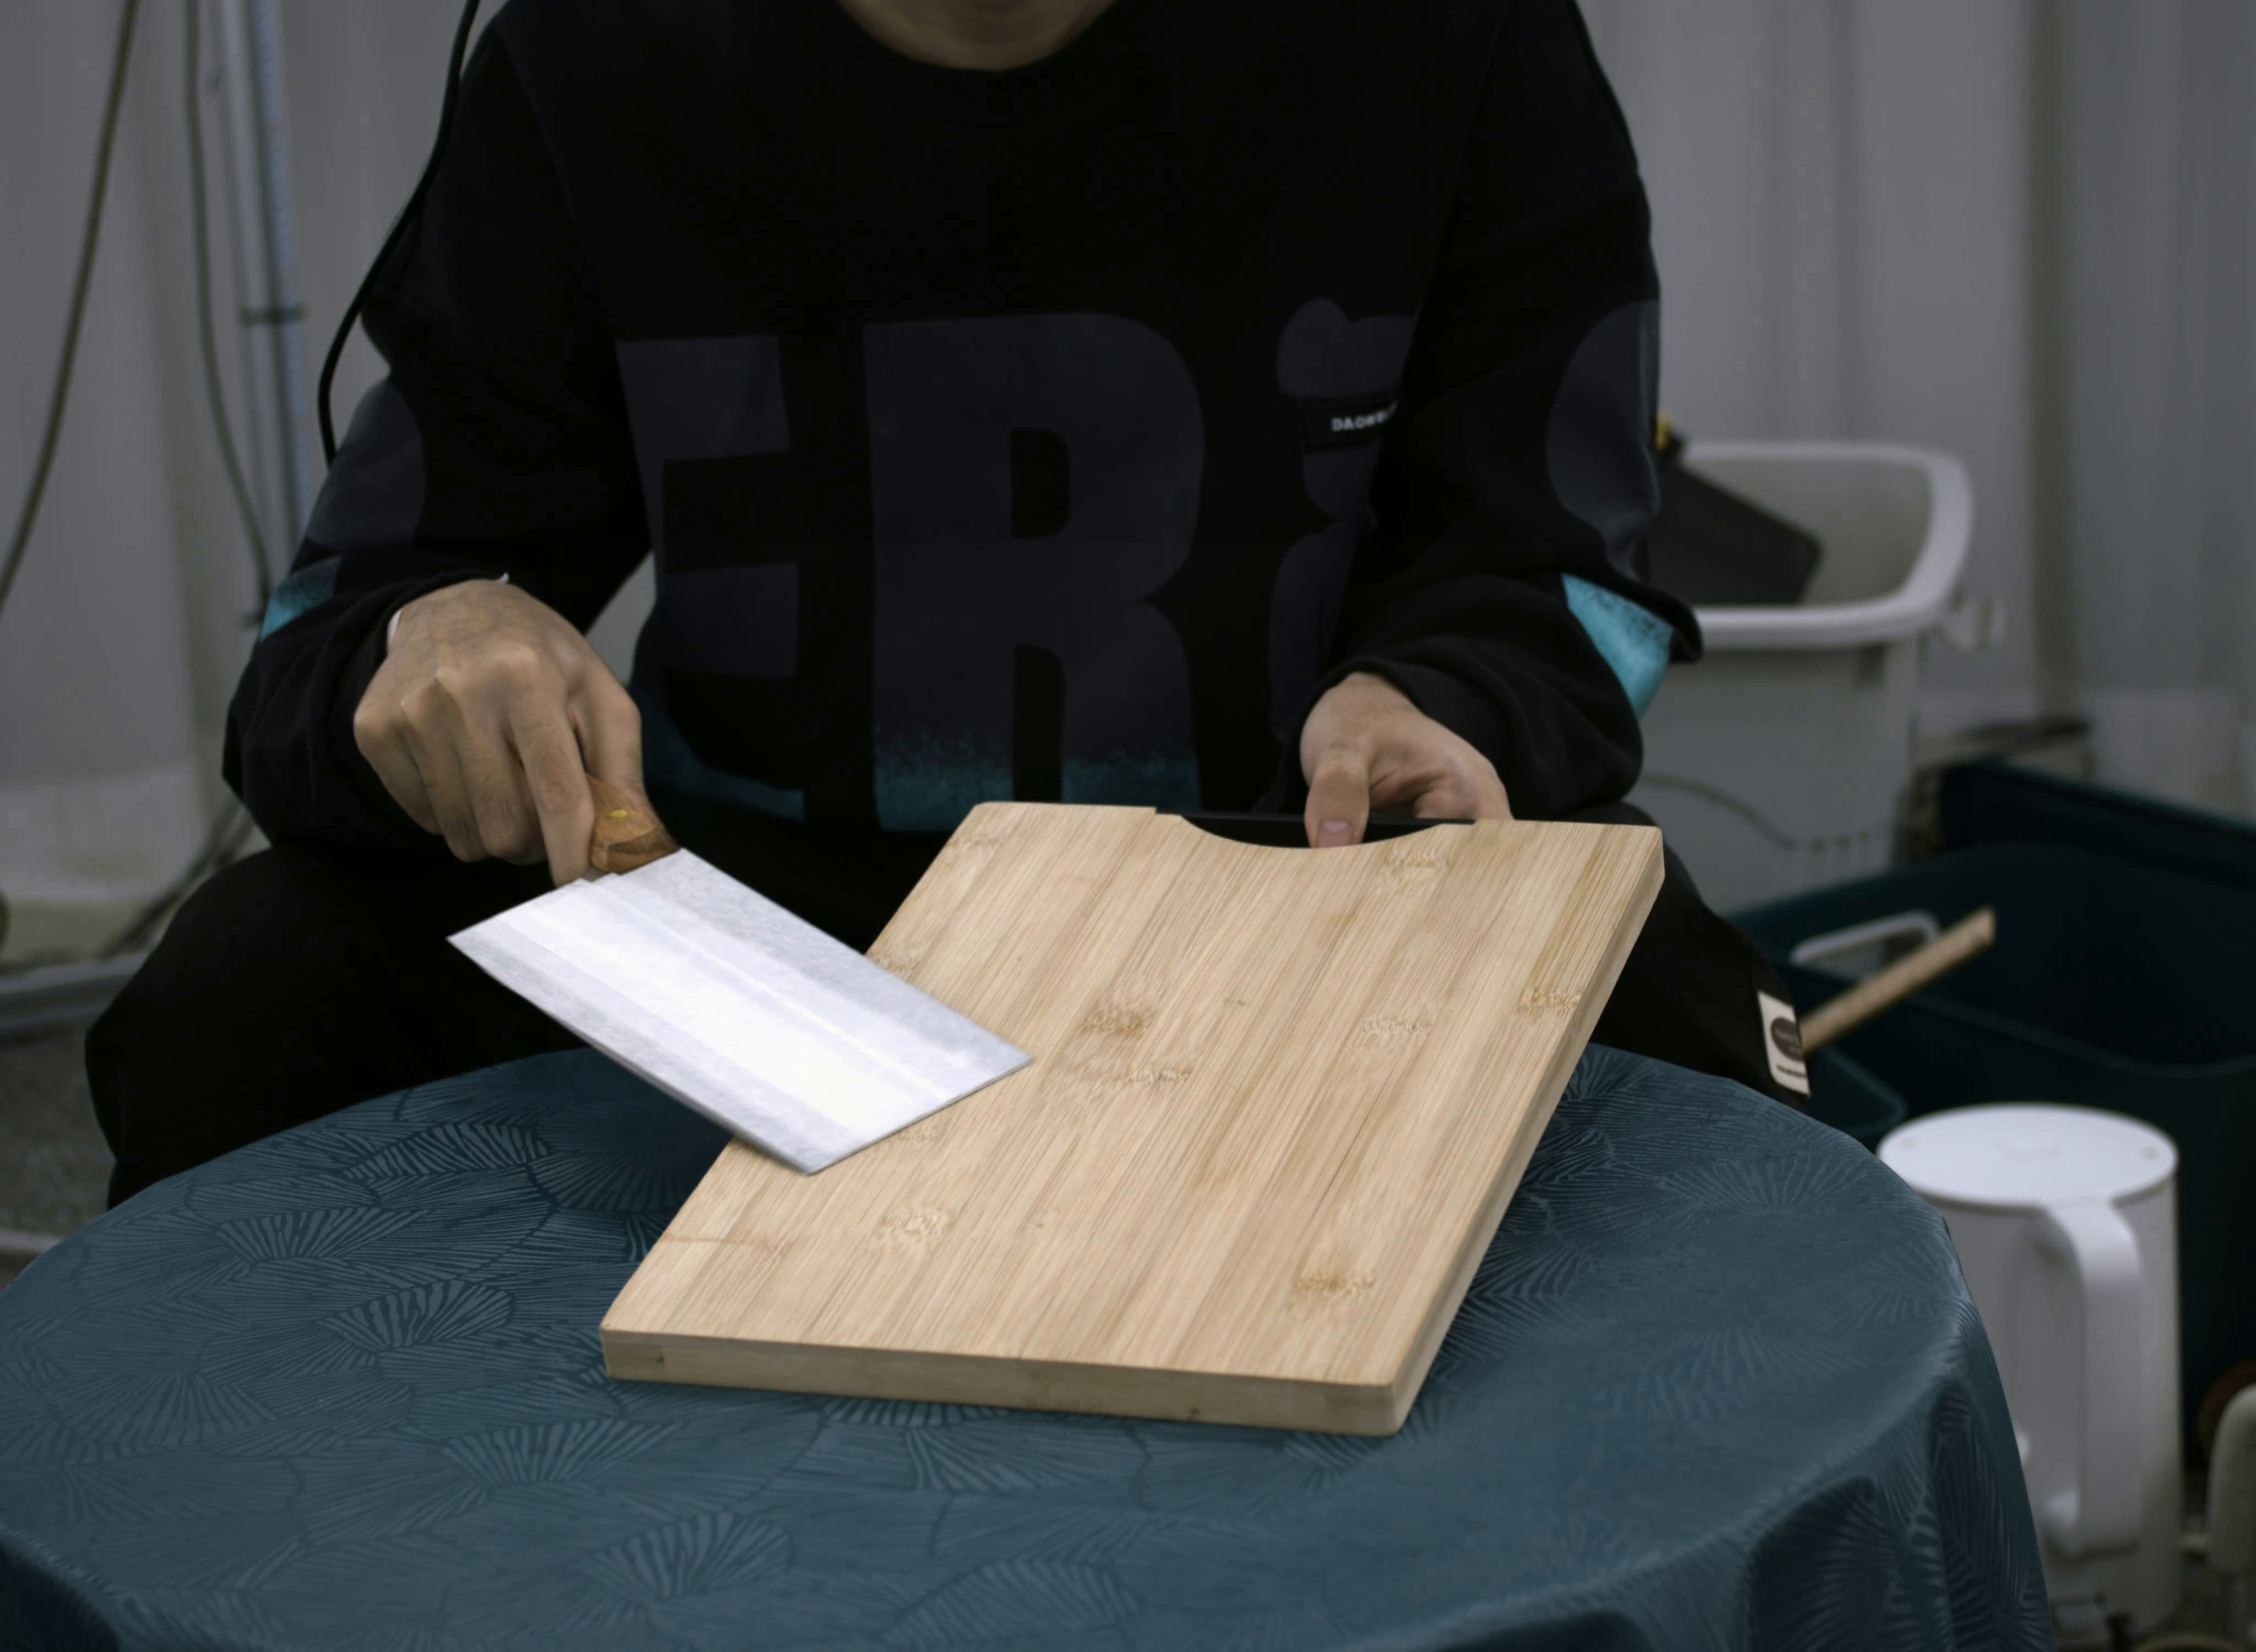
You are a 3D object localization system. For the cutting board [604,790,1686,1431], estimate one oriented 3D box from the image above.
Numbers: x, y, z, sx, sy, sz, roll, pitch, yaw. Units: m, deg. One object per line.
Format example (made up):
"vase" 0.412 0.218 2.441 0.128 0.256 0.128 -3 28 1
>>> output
"cutting board" 0.015 0.078 1.684 0.251 0.023 0.351 2 27 18

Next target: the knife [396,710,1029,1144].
"knife" -0.159 0.033 1.765 0.093 0.021 0.308 -26 37 -33
